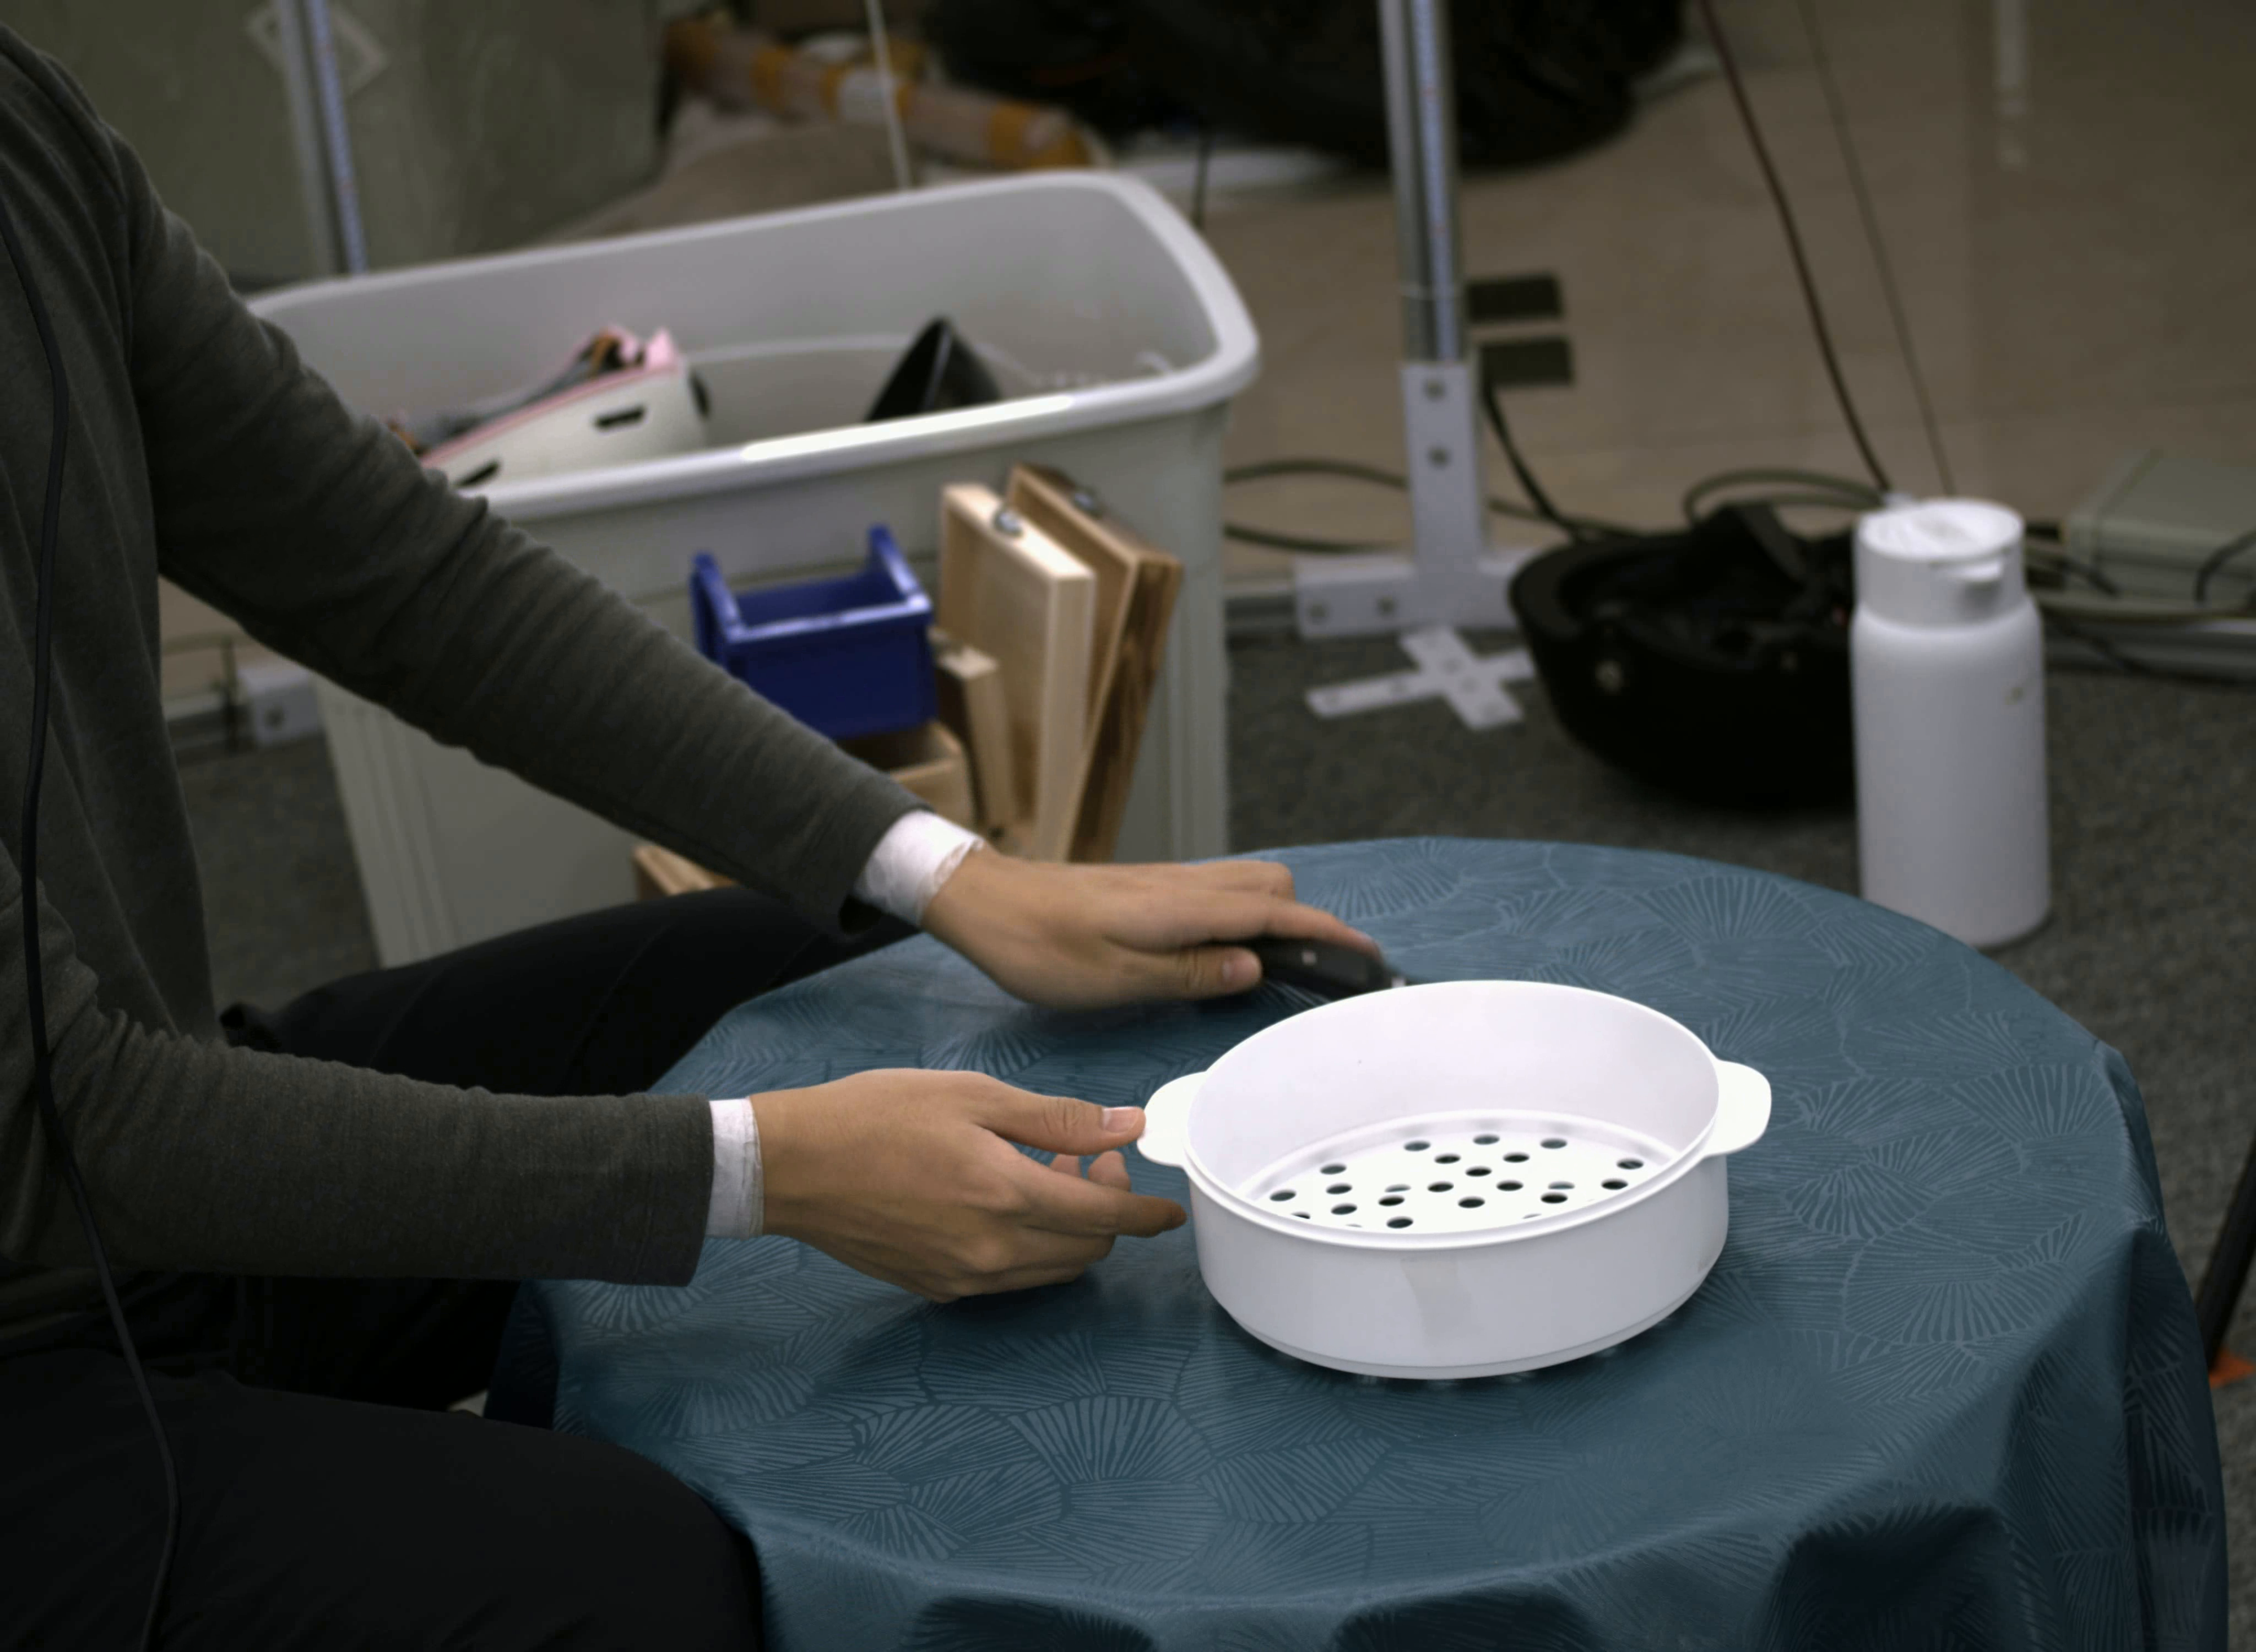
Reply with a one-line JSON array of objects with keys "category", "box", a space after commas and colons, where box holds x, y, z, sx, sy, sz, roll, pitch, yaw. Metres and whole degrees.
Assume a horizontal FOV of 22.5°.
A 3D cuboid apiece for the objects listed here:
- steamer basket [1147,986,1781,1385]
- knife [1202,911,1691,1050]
[{"category": "steamer basket", "box": [0.124, 0.130, 2.061, 0.230, 0.070, 0.199, -3, 24, 11]}, {"category": "knife", "box": [0.126, 0.067, 2.232, 0.236, 0.016, 0.024, 14, 35, 32]}]
